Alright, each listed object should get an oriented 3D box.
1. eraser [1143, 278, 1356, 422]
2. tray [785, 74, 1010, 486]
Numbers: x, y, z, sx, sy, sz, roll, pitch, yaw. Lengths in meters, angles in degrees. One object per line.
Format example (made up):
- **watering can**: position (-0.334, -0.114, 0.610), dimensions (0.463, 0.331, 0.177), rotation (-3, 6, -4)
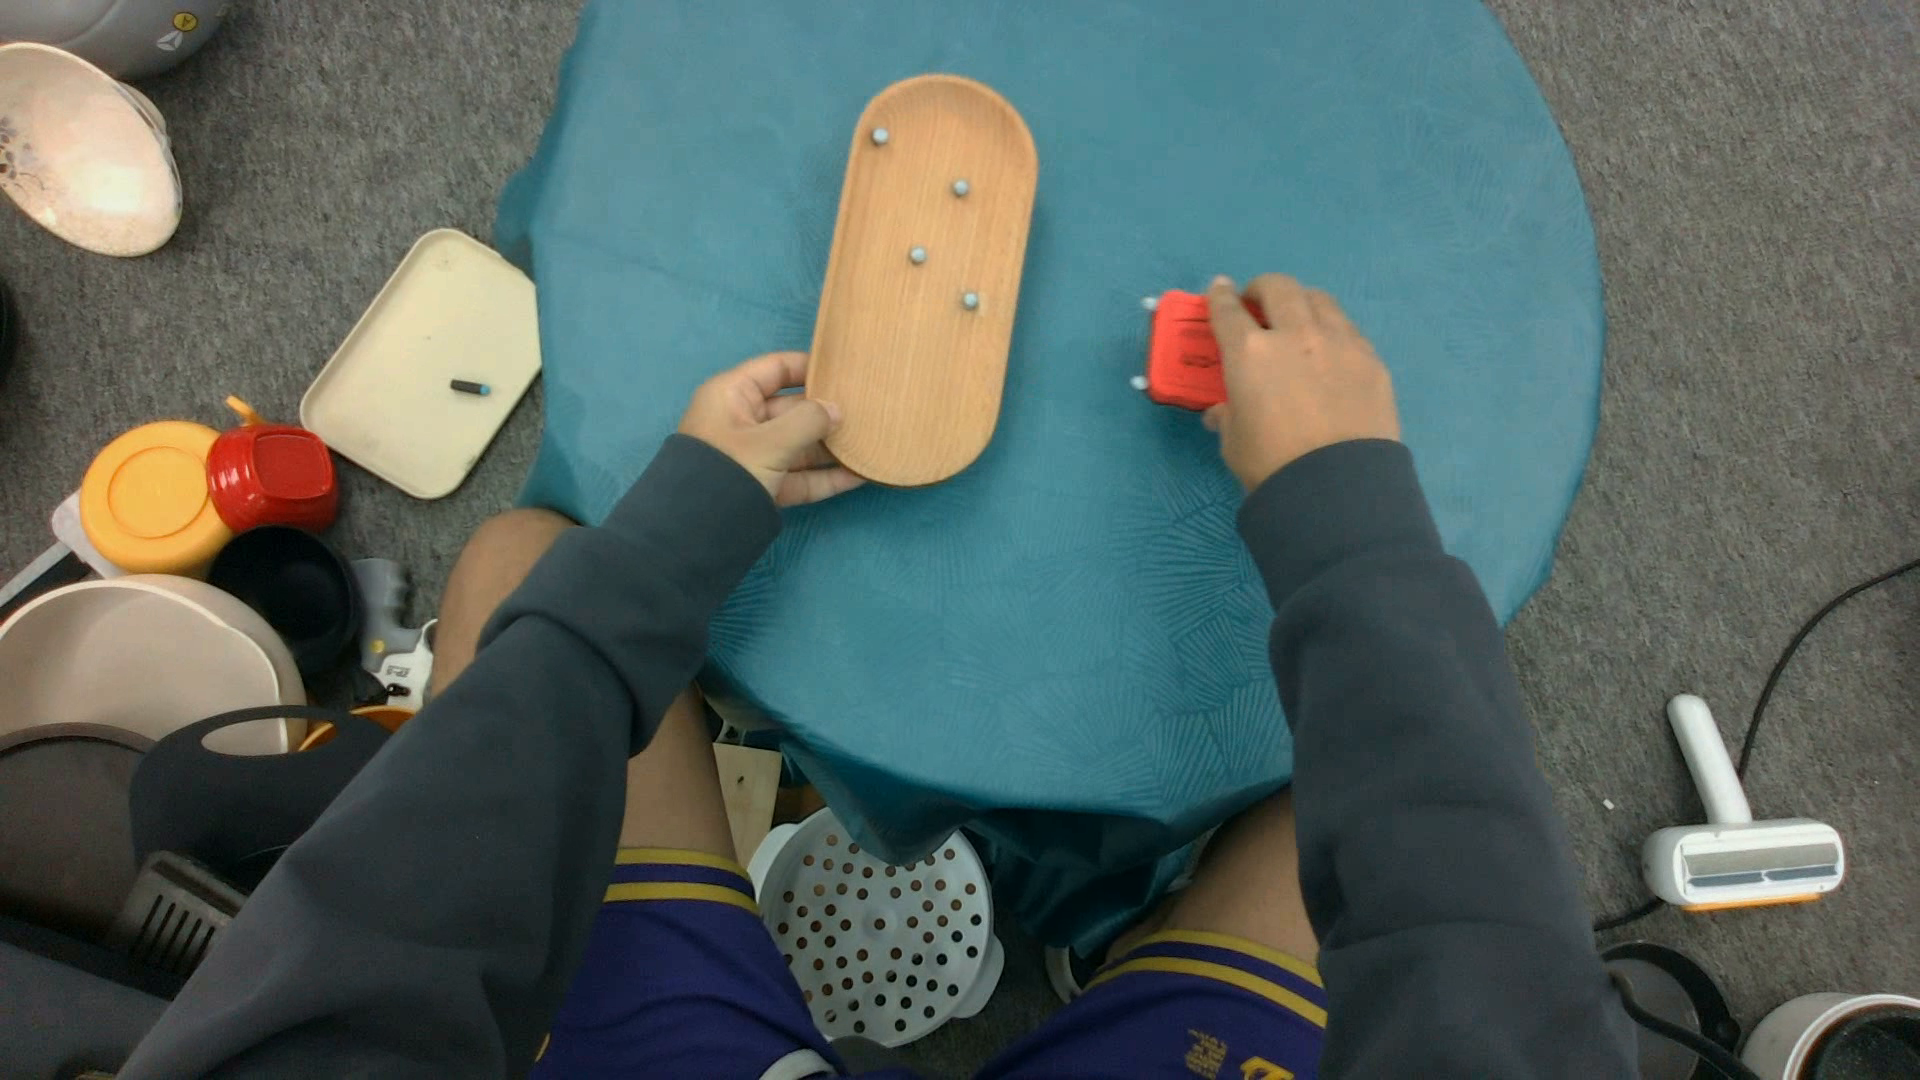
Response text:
- **eraser**: position (0.153, -0.100, 0.729), dimensions (0.108, 0.023, 0.059), rotation (10, 73, -4)
- **tray**: position (-0.031, -0.139, 0.722), dimensions (0.102, 0.020, 0.231), rotation (9, 76, -8)
